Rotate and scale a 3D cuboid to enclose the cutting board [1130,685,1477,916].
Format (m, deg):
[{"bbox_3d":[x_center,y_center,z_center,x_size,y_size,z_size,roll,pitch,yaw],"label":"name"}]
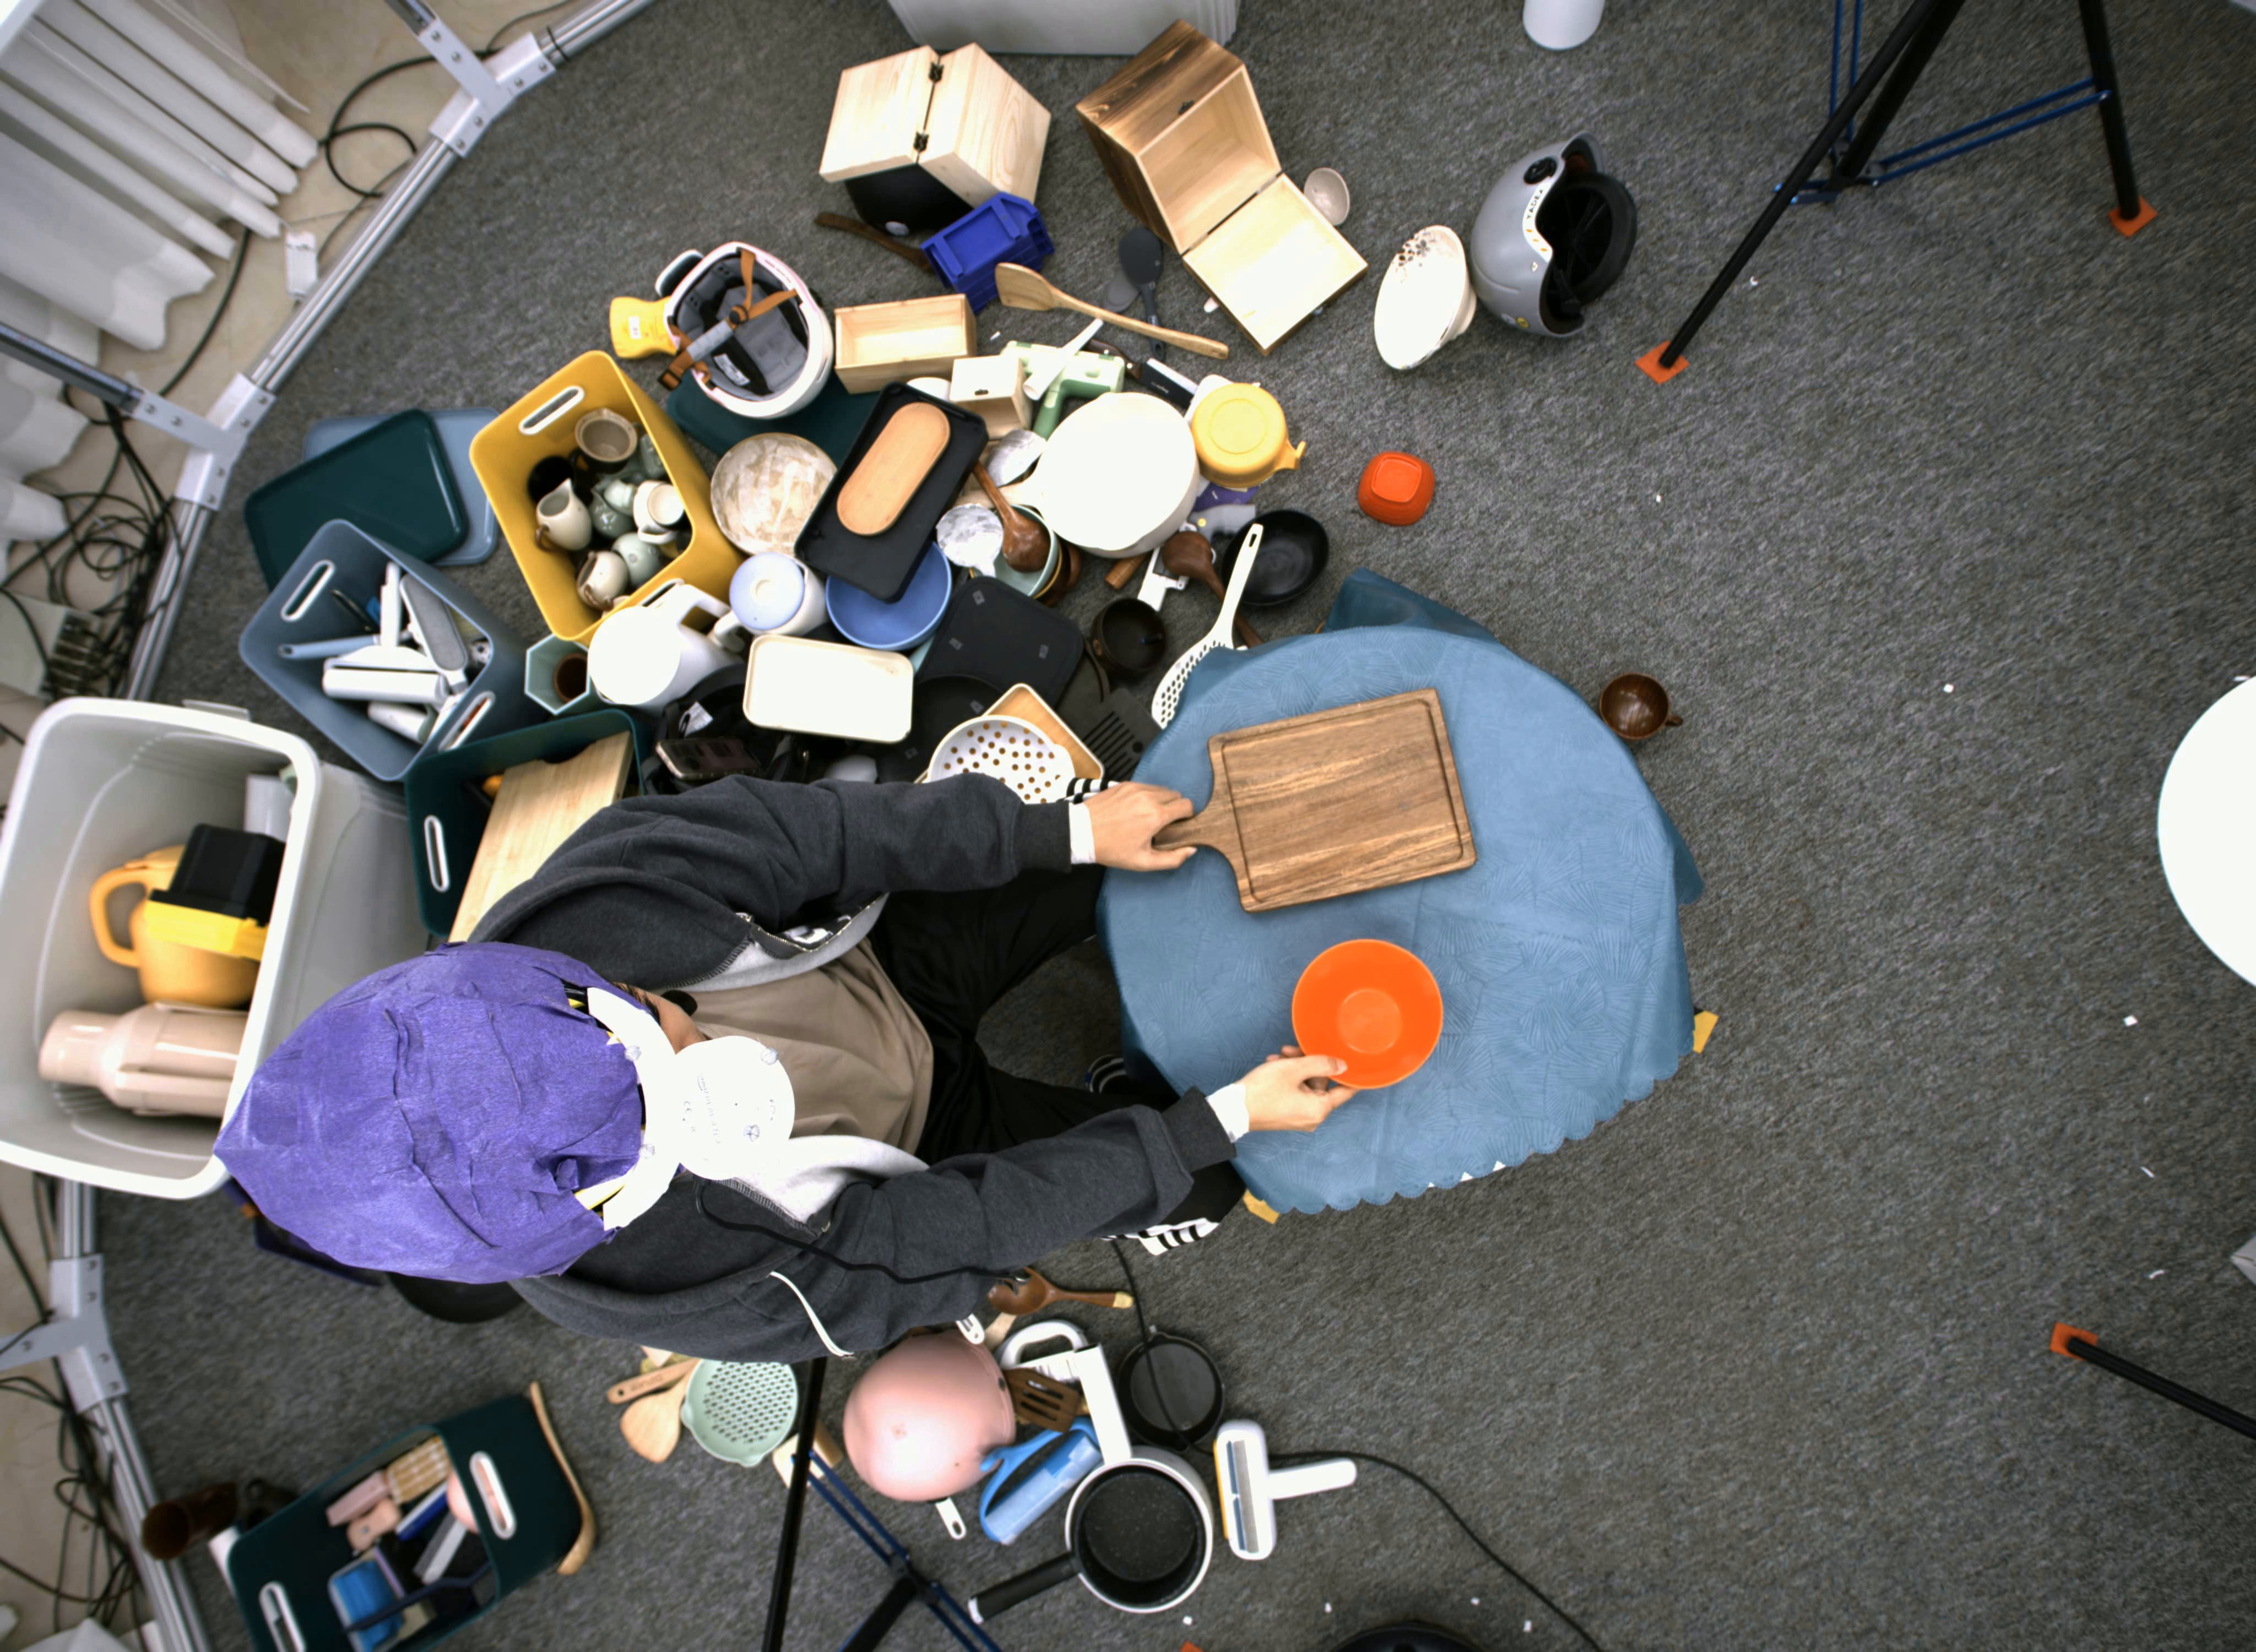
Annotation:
[{"bbox_3d":[0.174,-0.018,1.461,0.353,0.023,0.200,-13,85,6],"label":"cutting board"}]

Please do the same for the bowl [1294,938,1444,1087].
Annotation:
[{"bbox_3d":[0.245,0.187,1.407,0.148,0.104,0.147,-1,86,10],"label":"bowl"}]
